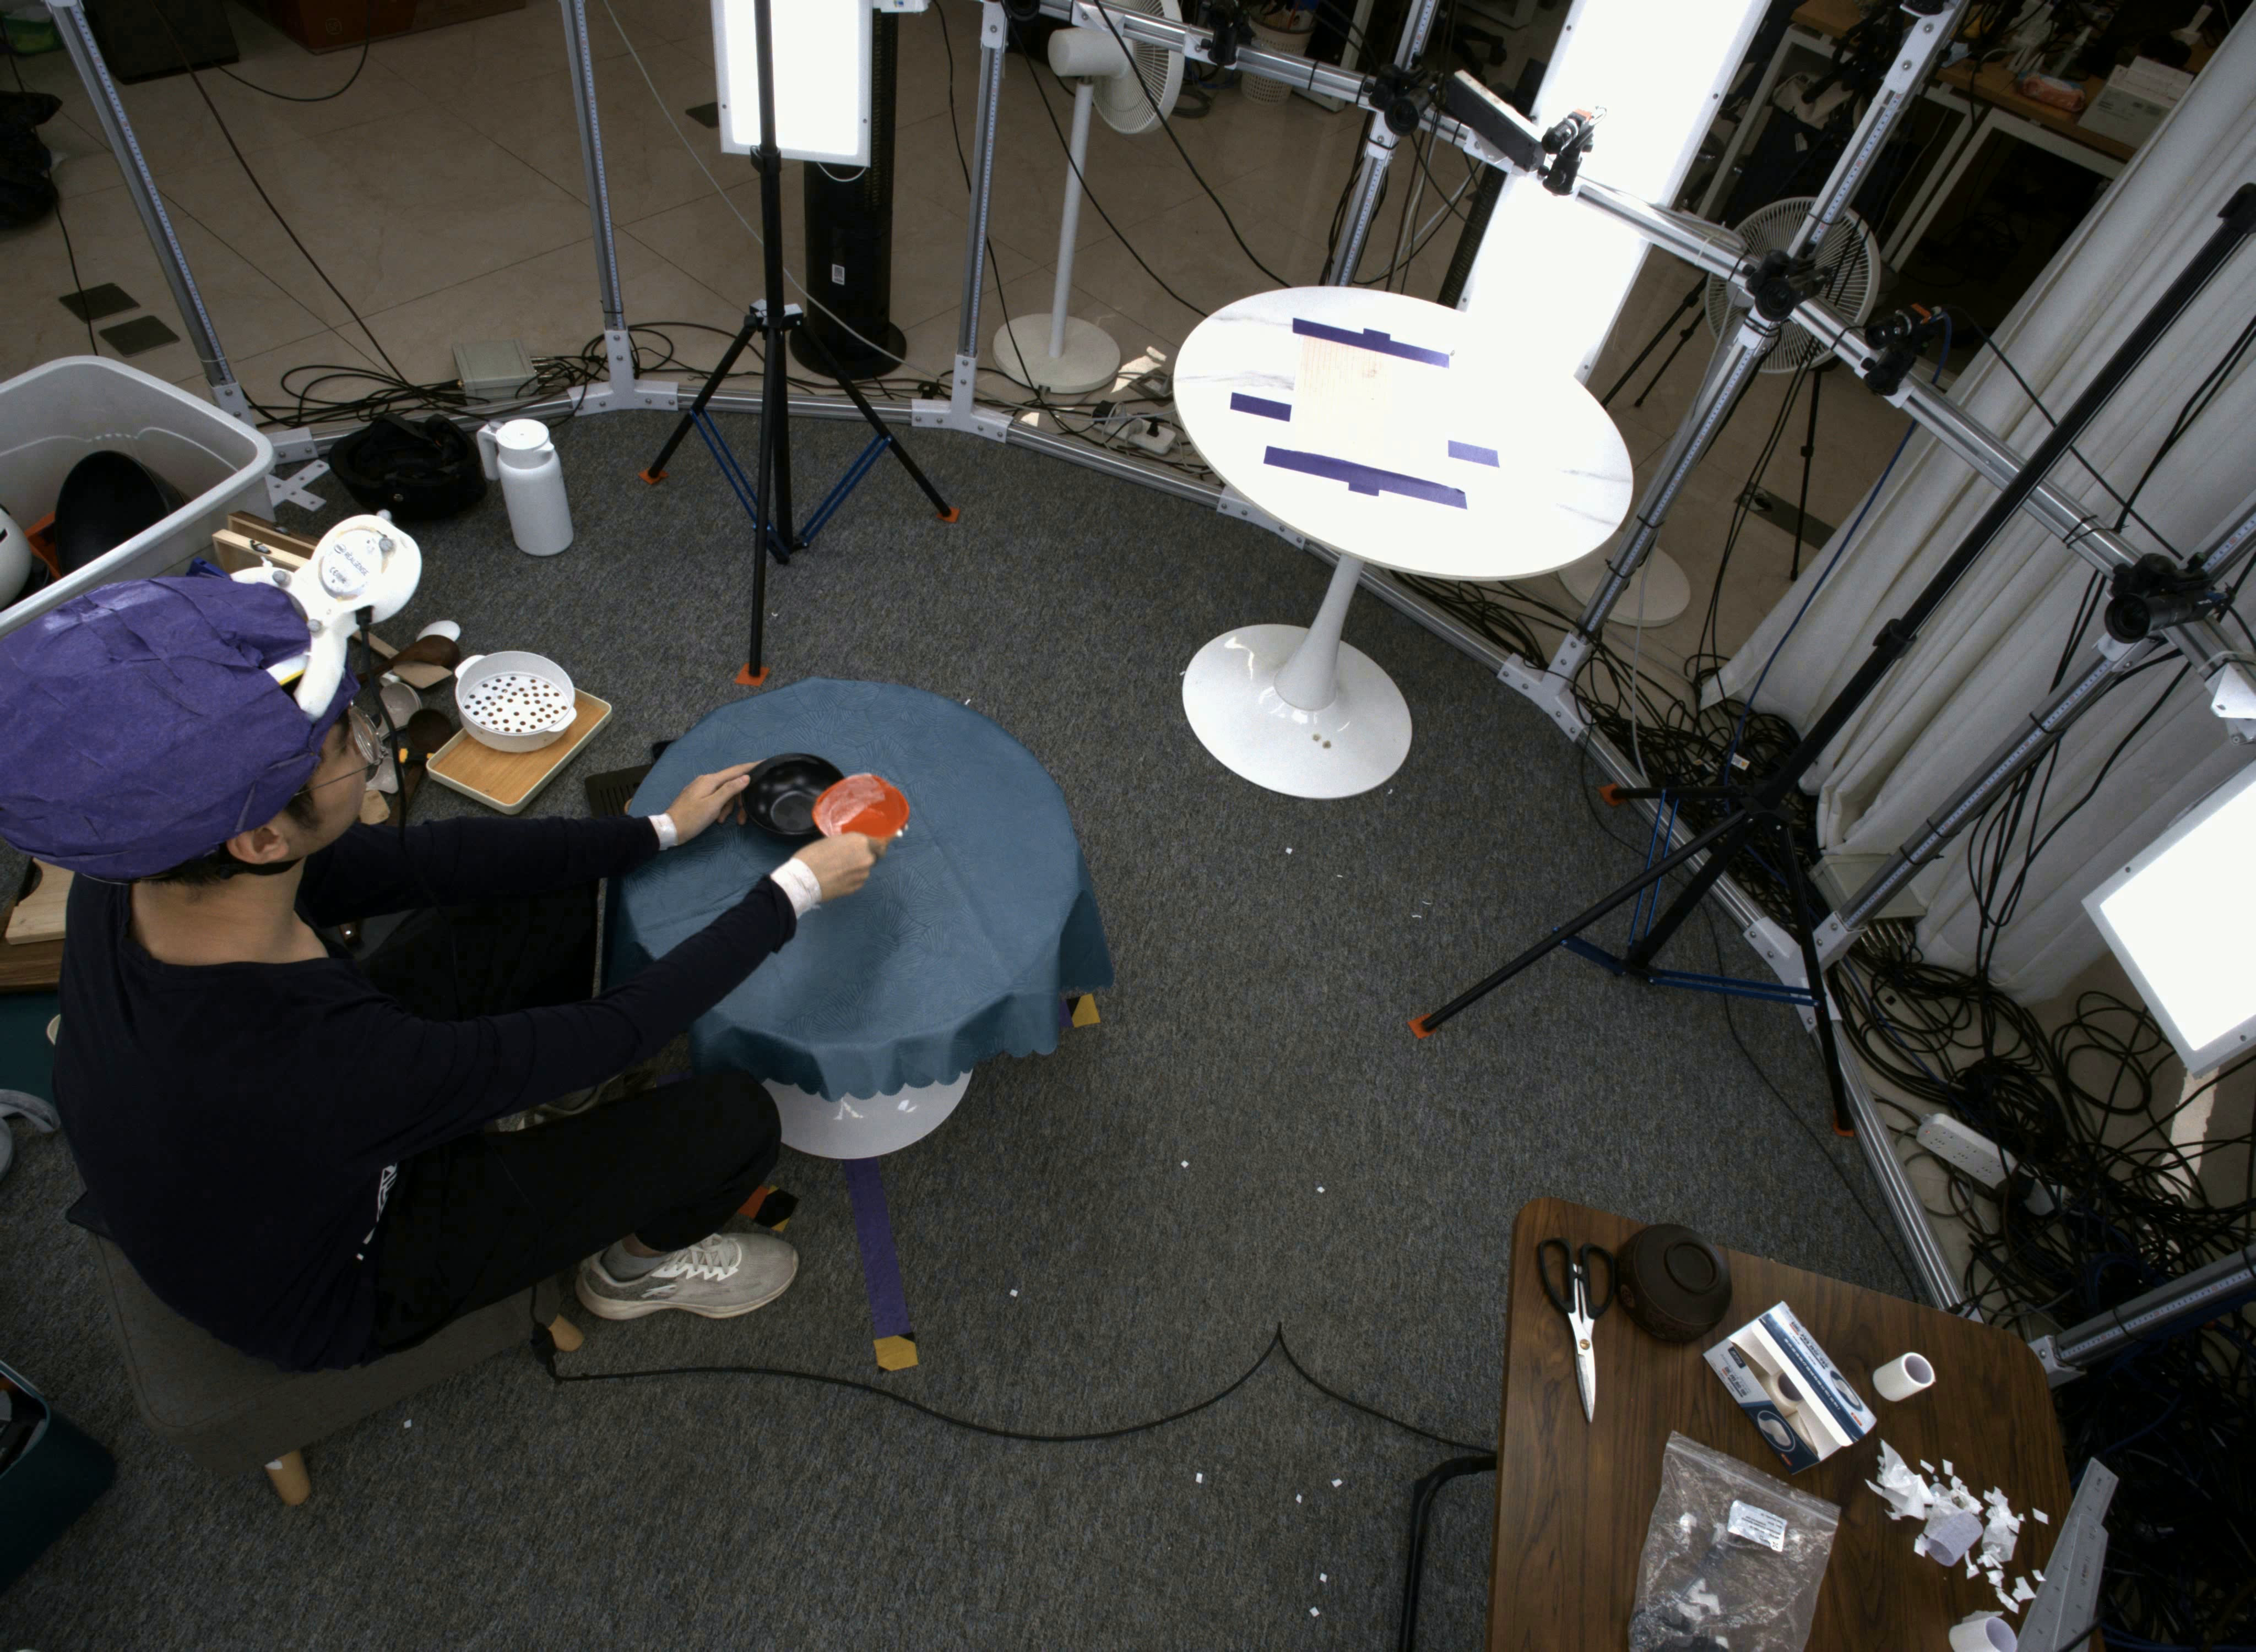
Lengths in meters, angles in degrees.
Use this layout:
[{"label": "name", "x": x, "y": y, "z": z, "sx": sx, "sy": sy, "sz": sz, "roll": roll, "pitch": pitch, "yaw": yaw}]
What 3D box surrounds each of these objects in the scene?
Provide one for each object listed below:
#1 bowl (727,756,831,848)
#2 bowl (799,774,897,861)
[{"label": "bowl", "x": -0.458, "y": -0.025, "z": 1.717, "sx": 0.139, "sy": 0.051, "sz": 0.138, "roll": 5, "pitch": 56, "yaw": -6}, {"label": "bowl", "x": -0.347, "y": -0.004, "z": 1.608, "sx": 0.119, "sy": 0.052, "sz": 0.117, "roll": 9, "pitch": 53, "yaw": -10}]
